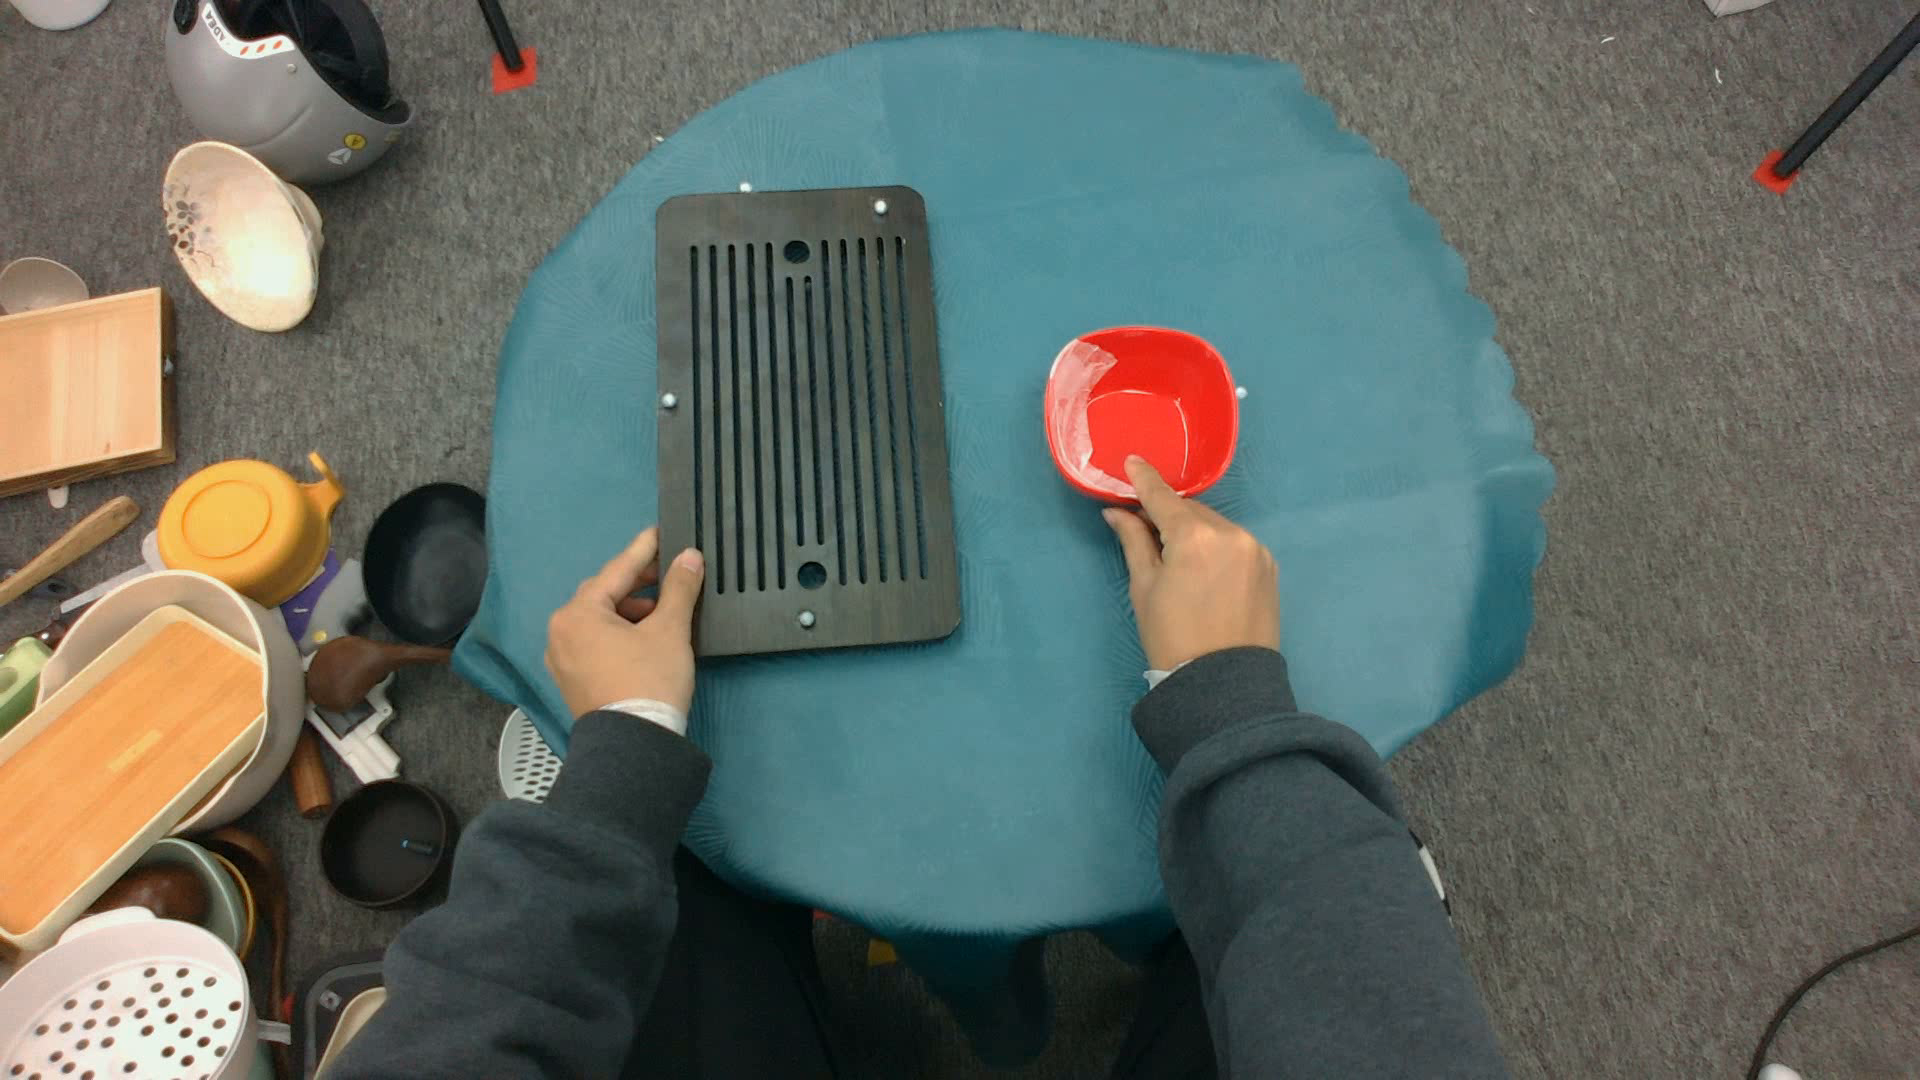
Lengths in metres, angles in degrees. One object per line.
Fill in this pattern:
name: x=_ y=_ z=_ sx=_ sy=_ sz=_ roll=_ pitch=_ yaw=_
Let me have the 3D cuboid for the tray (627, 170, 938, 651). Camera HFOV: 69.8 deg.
tray: x=-0.111 y=-0.086 z=0.823 sx=0.170 sy=0.018 sz=0.307 roll=-5 pitch=69 yaw=-4

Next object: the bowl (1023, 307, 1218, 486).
bowl: x=0.091 y=-0.076 z=0.801 sx=0.119 sy=0.051 sz=0.119 roll=0 pitch=67 yaw=0
